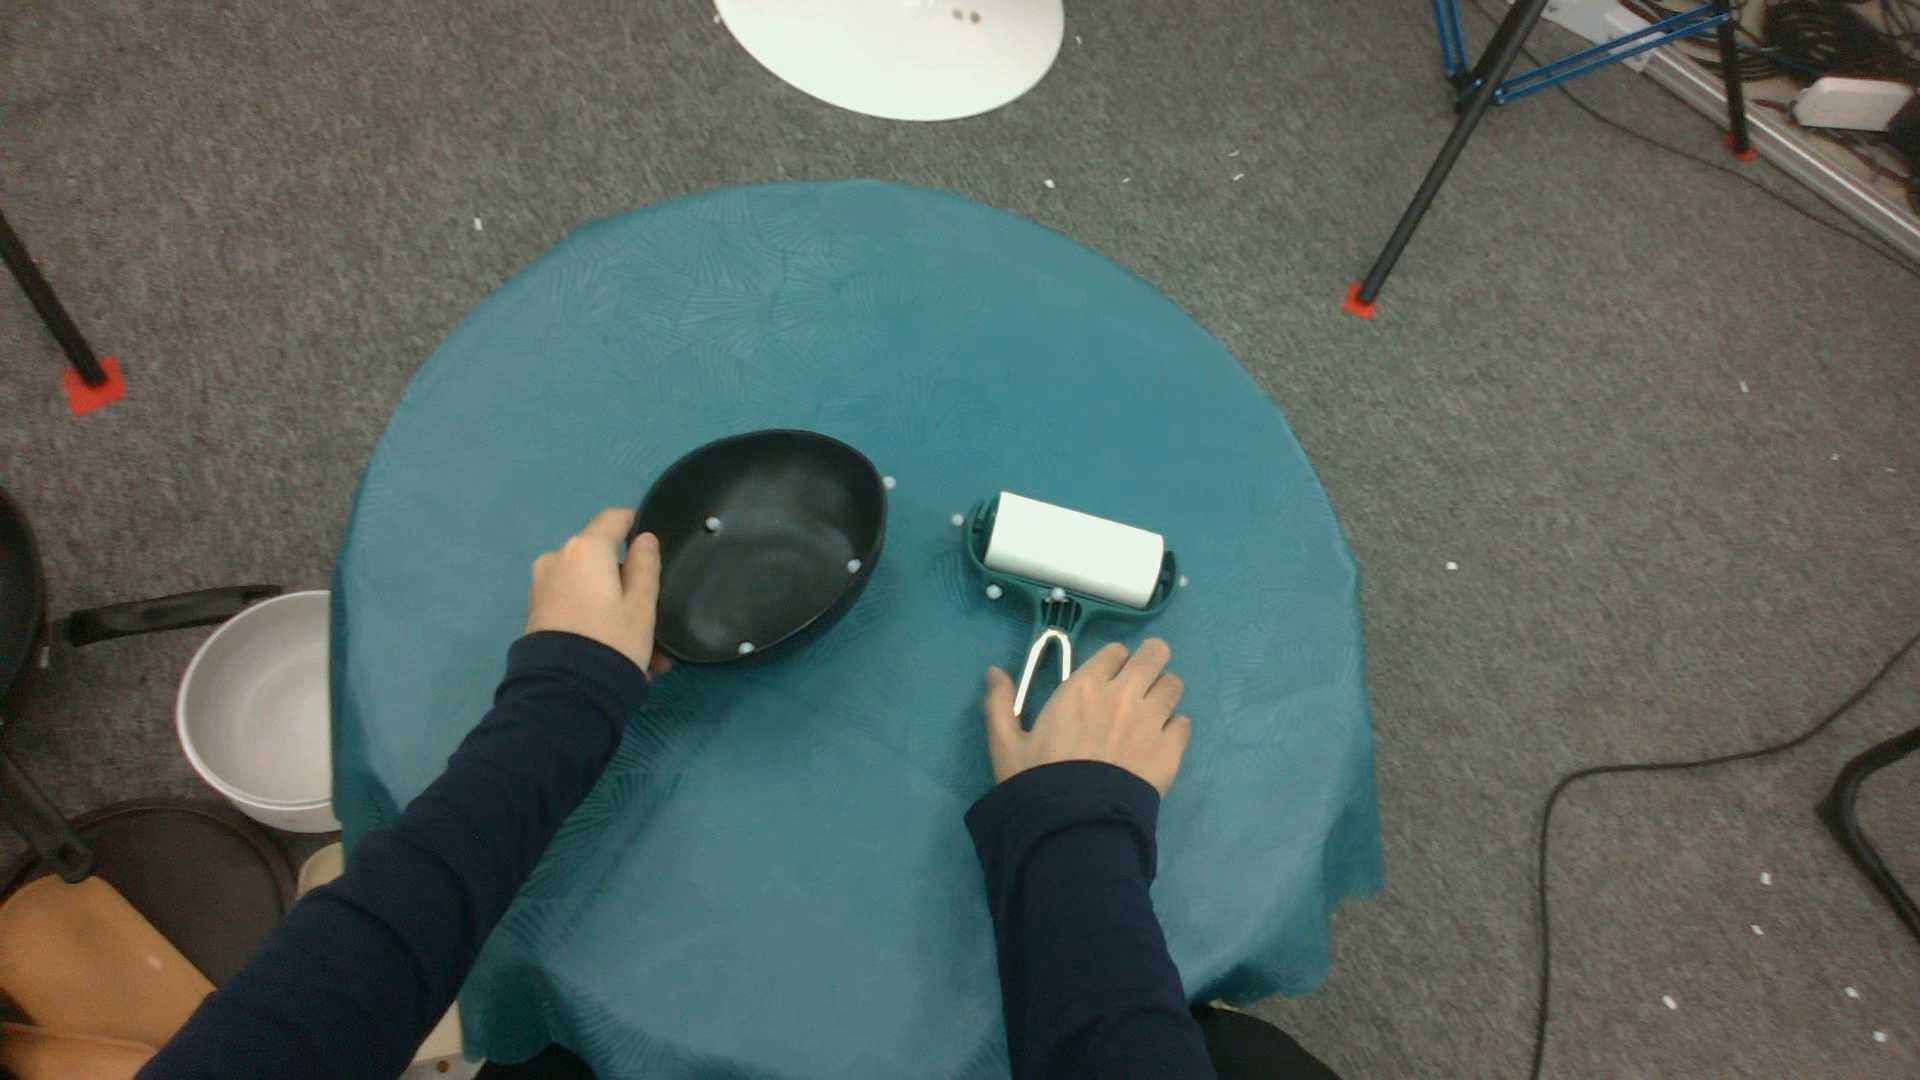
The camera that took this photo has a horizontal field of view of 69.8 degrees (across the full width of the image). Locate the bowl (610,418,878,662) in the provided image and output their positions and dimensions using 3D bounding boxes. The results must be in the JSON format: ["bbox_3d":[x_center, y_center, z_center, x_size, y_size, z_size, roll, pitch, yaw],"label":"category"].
[{"bbox_3d":[-0.113,0.008,0.754,0.137,0.066,0.171,9,47,14],"label":"bowl"}]

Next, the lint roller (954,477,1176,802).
[{"bbox_3d":[0.049,0.058,0.787,0.134,0.048,0.181,15,61,-4],"label":"lint roller"}]
